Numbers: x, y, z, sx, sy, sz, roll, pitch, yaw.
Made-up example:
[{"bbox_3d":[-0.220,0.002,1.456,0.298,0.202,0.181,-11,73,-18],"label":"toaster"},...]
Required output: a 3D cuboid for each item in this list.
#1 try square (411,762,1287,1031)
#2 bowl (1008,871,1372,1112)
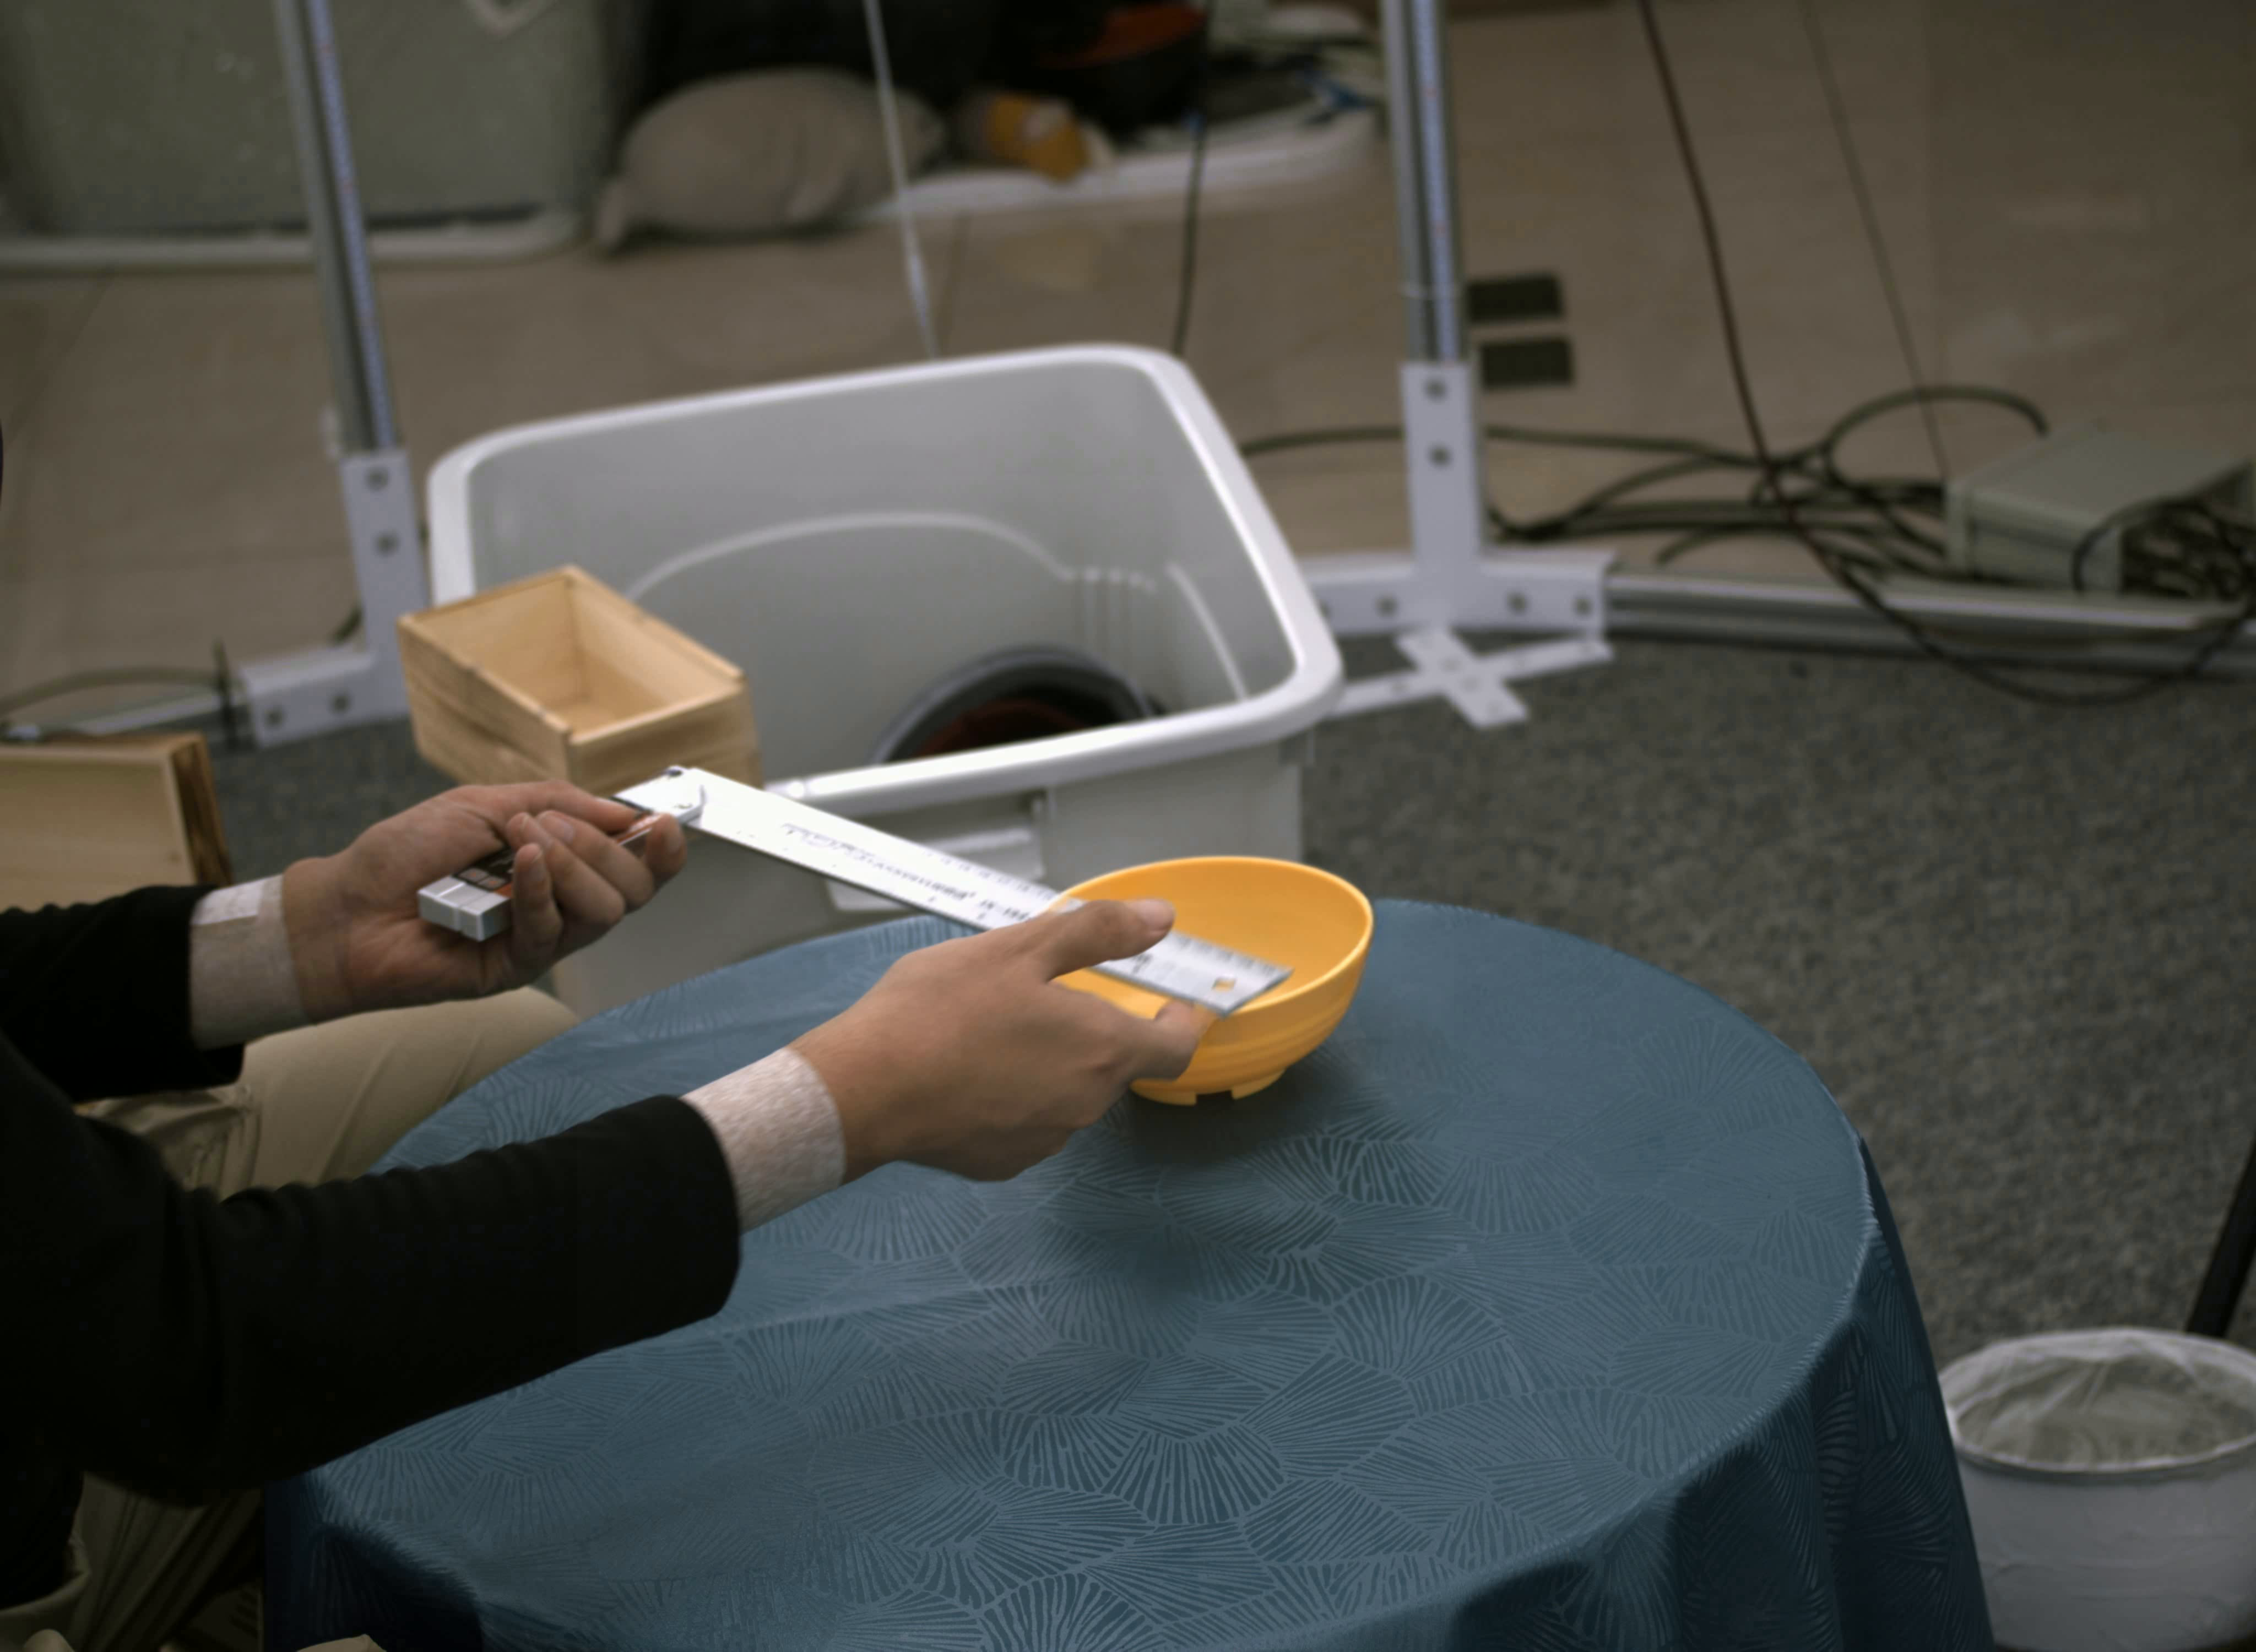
[{"bbox_3d":[-0.108,0.046,2.116,0.310,0.016,0.151,20,37,36],"label":"try square"},{"bbox_3d":[0.028,0.072,2.220,0.145,0.061,0.143,-7,23,3],"label":"bowl"}]
